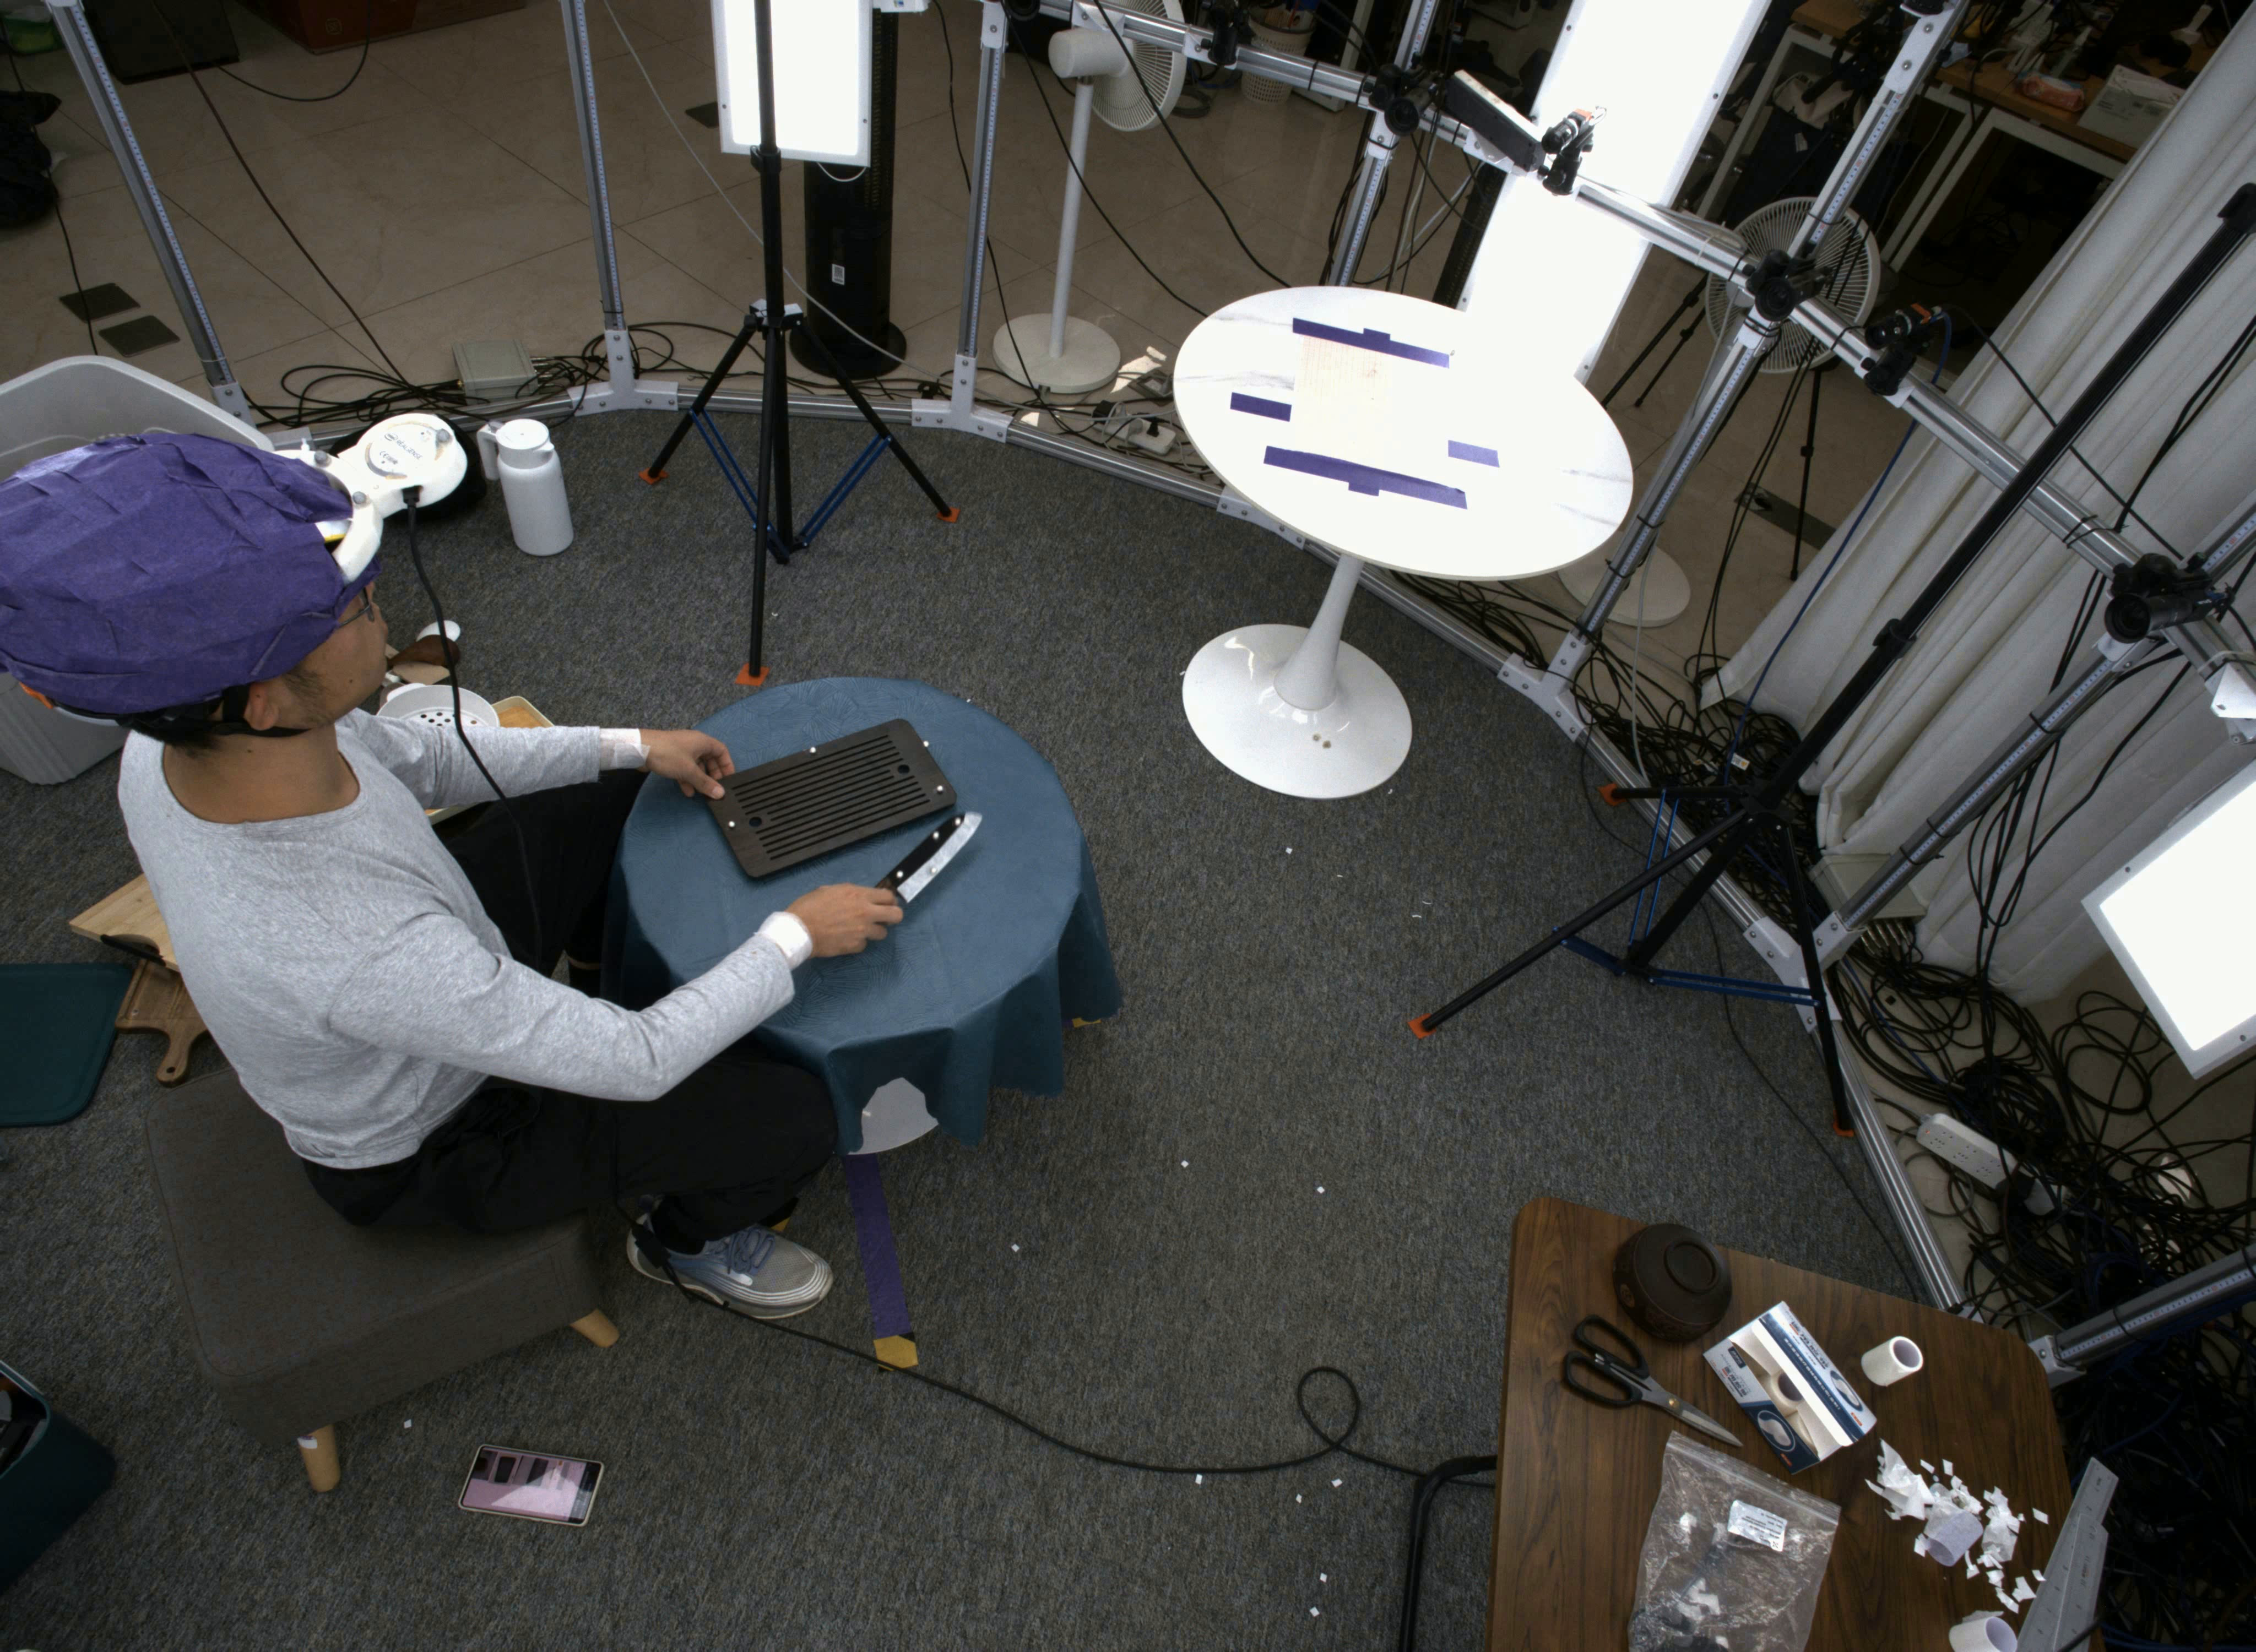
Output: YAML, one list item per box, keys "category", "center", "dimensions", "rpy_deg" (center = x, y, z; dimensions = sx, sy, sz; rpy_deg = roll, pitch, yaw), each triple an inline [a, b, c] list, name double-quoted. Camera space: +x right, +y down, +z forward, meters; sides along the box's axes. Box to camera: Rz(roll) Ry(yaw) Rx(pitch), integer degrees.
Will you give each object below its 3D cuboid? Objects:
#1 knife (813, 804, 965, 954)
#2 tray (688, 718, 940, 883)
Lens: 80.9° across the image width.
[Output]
- category: "knife"
  center: [-0.299, 0.061, 1.661]
  dimensions: [0.051, 0.019, 0.288]
  rpy_deg: [53, 54, -15]
- category: "tray"
  center: [-0.422, -0.039, 1.753]
  dimensions: [0.307, 0.019, 0.166]
  rpy_deg: [-23, 63, -27]
